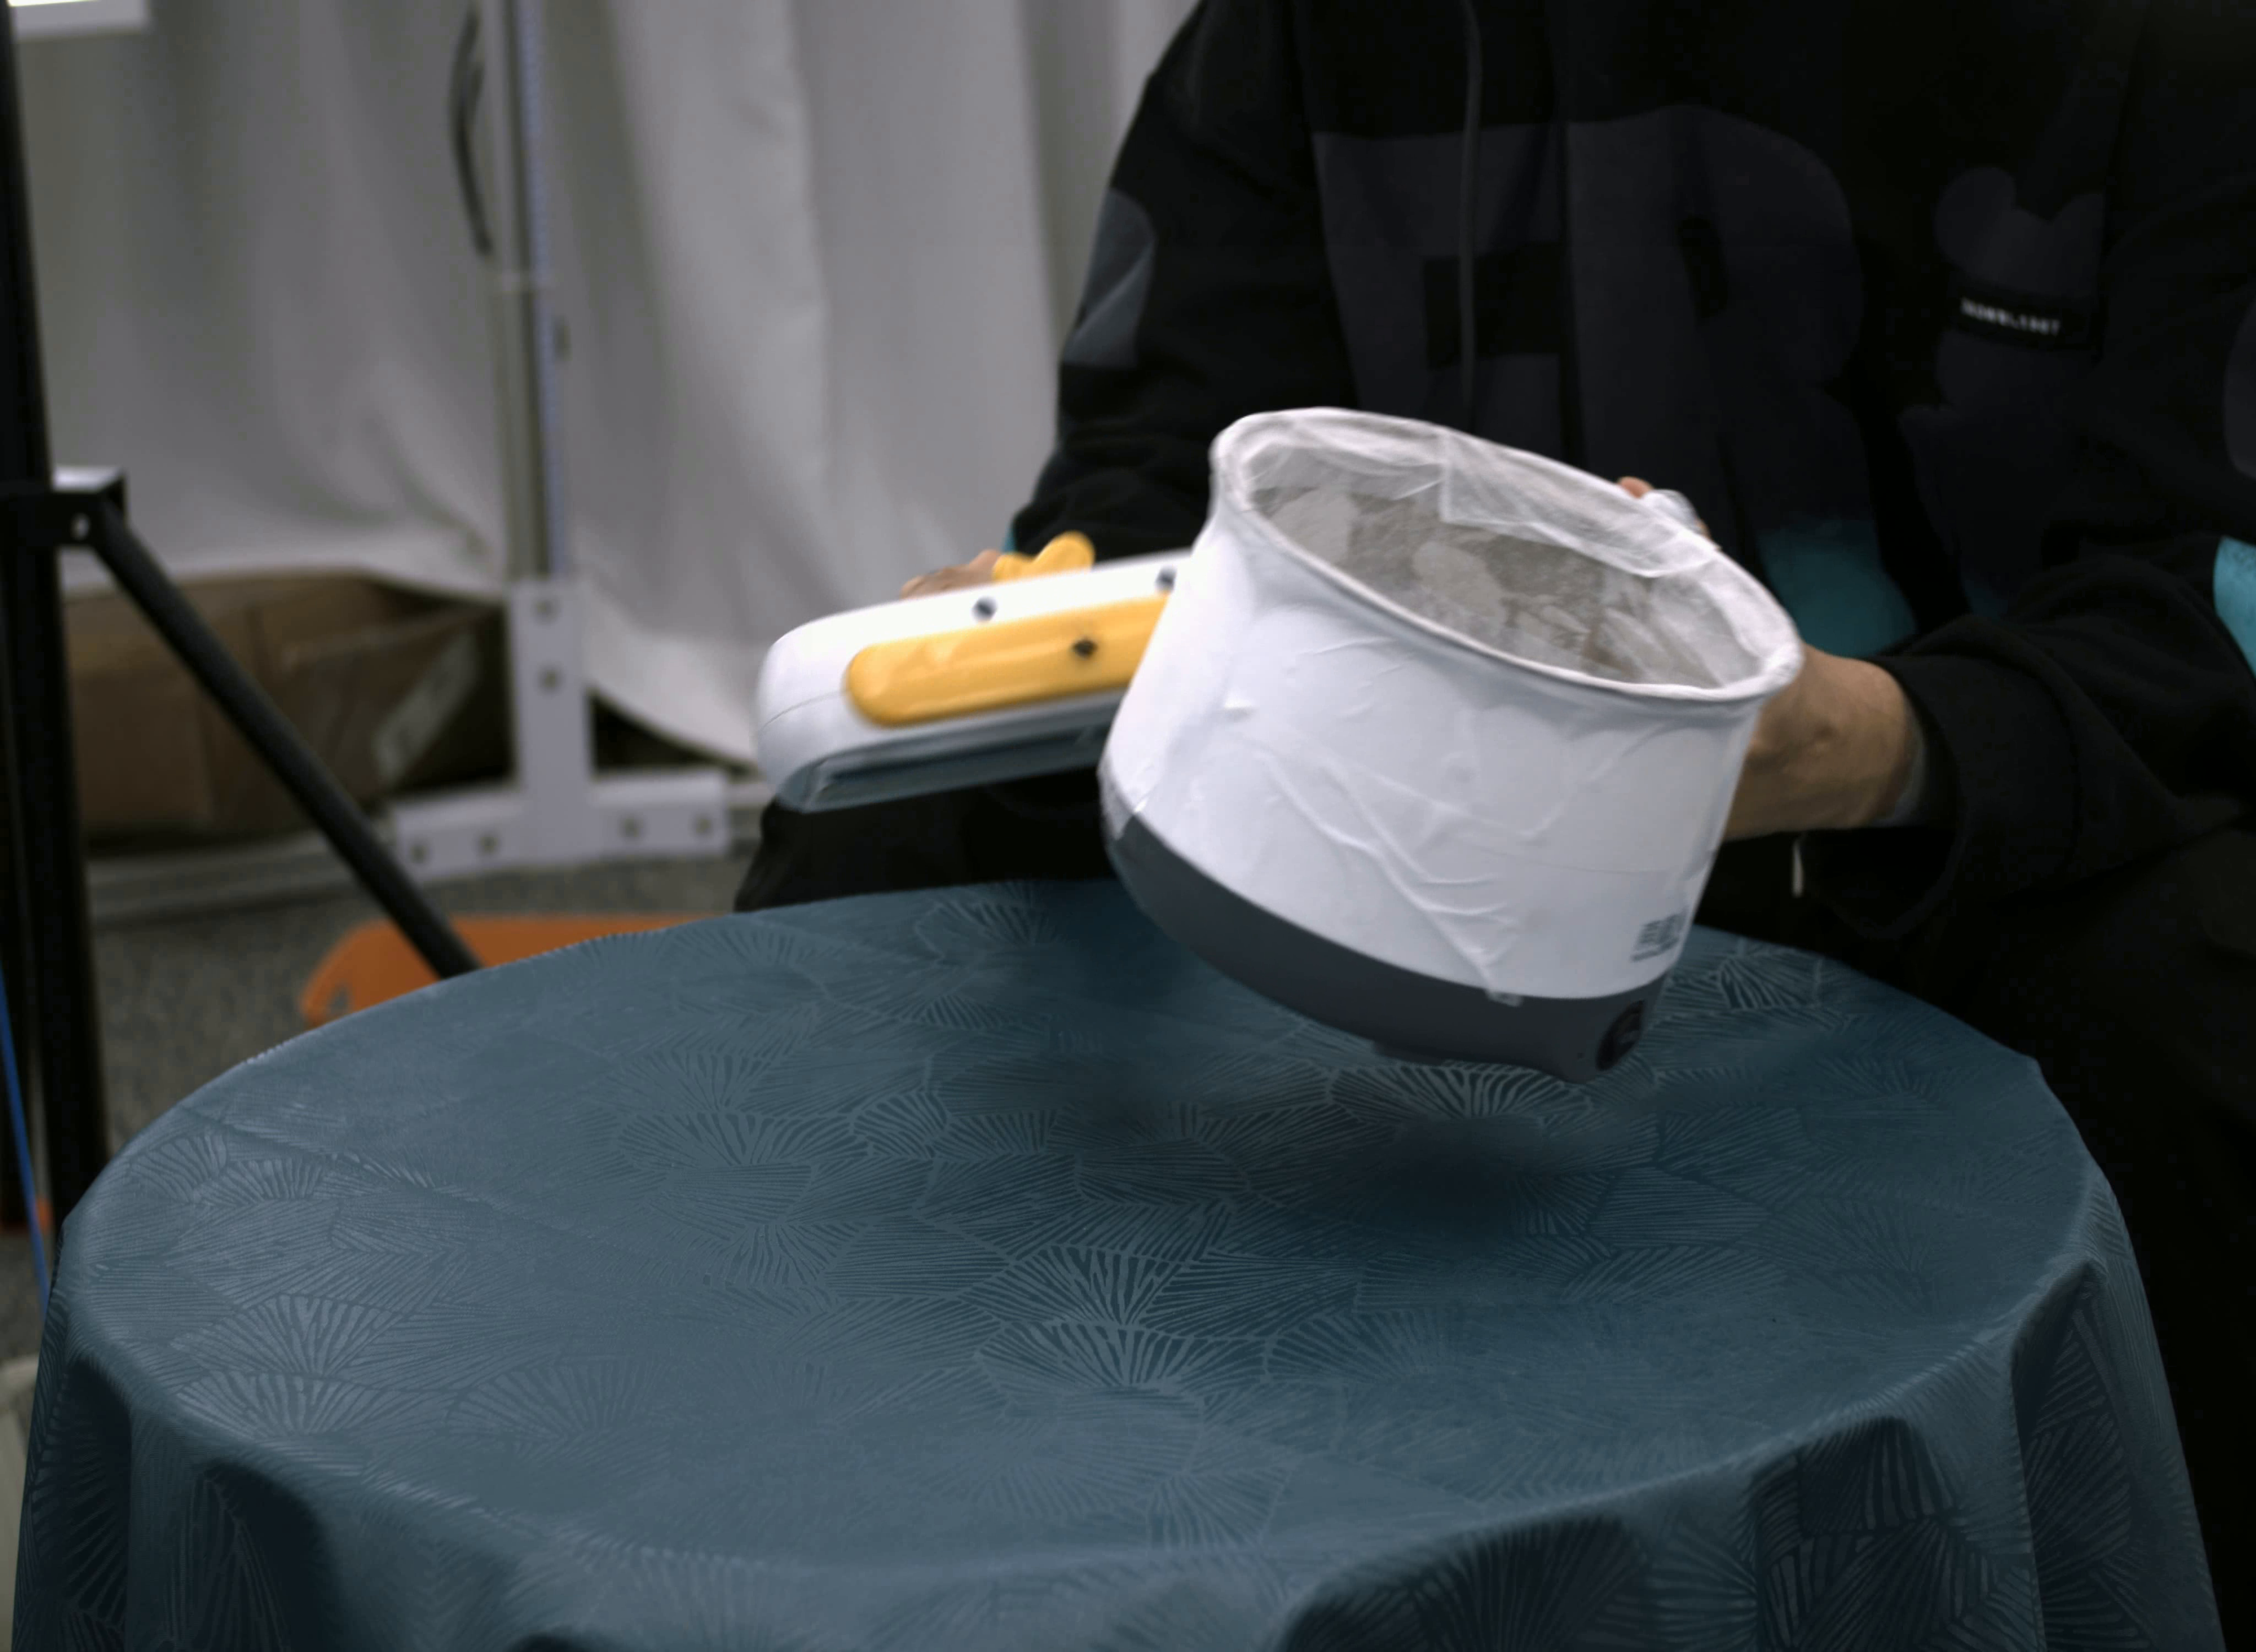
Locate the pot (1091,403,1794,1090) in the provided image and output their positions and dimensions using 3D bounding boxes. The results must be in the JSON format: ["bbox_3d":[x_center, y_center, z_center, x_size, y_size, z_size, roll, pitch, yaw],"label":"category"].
[{"bbox_3d":[0.100,-0.029,1.546,0.182,0.137,0.229,31,26,24],"label":"pot"}]

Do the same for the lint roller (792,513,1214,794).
[{"bbox_3d":[-0.026,-0.047,1.683,0.190,0.075,0.194,-15,-8,-17],"label":"lint roller"}]
